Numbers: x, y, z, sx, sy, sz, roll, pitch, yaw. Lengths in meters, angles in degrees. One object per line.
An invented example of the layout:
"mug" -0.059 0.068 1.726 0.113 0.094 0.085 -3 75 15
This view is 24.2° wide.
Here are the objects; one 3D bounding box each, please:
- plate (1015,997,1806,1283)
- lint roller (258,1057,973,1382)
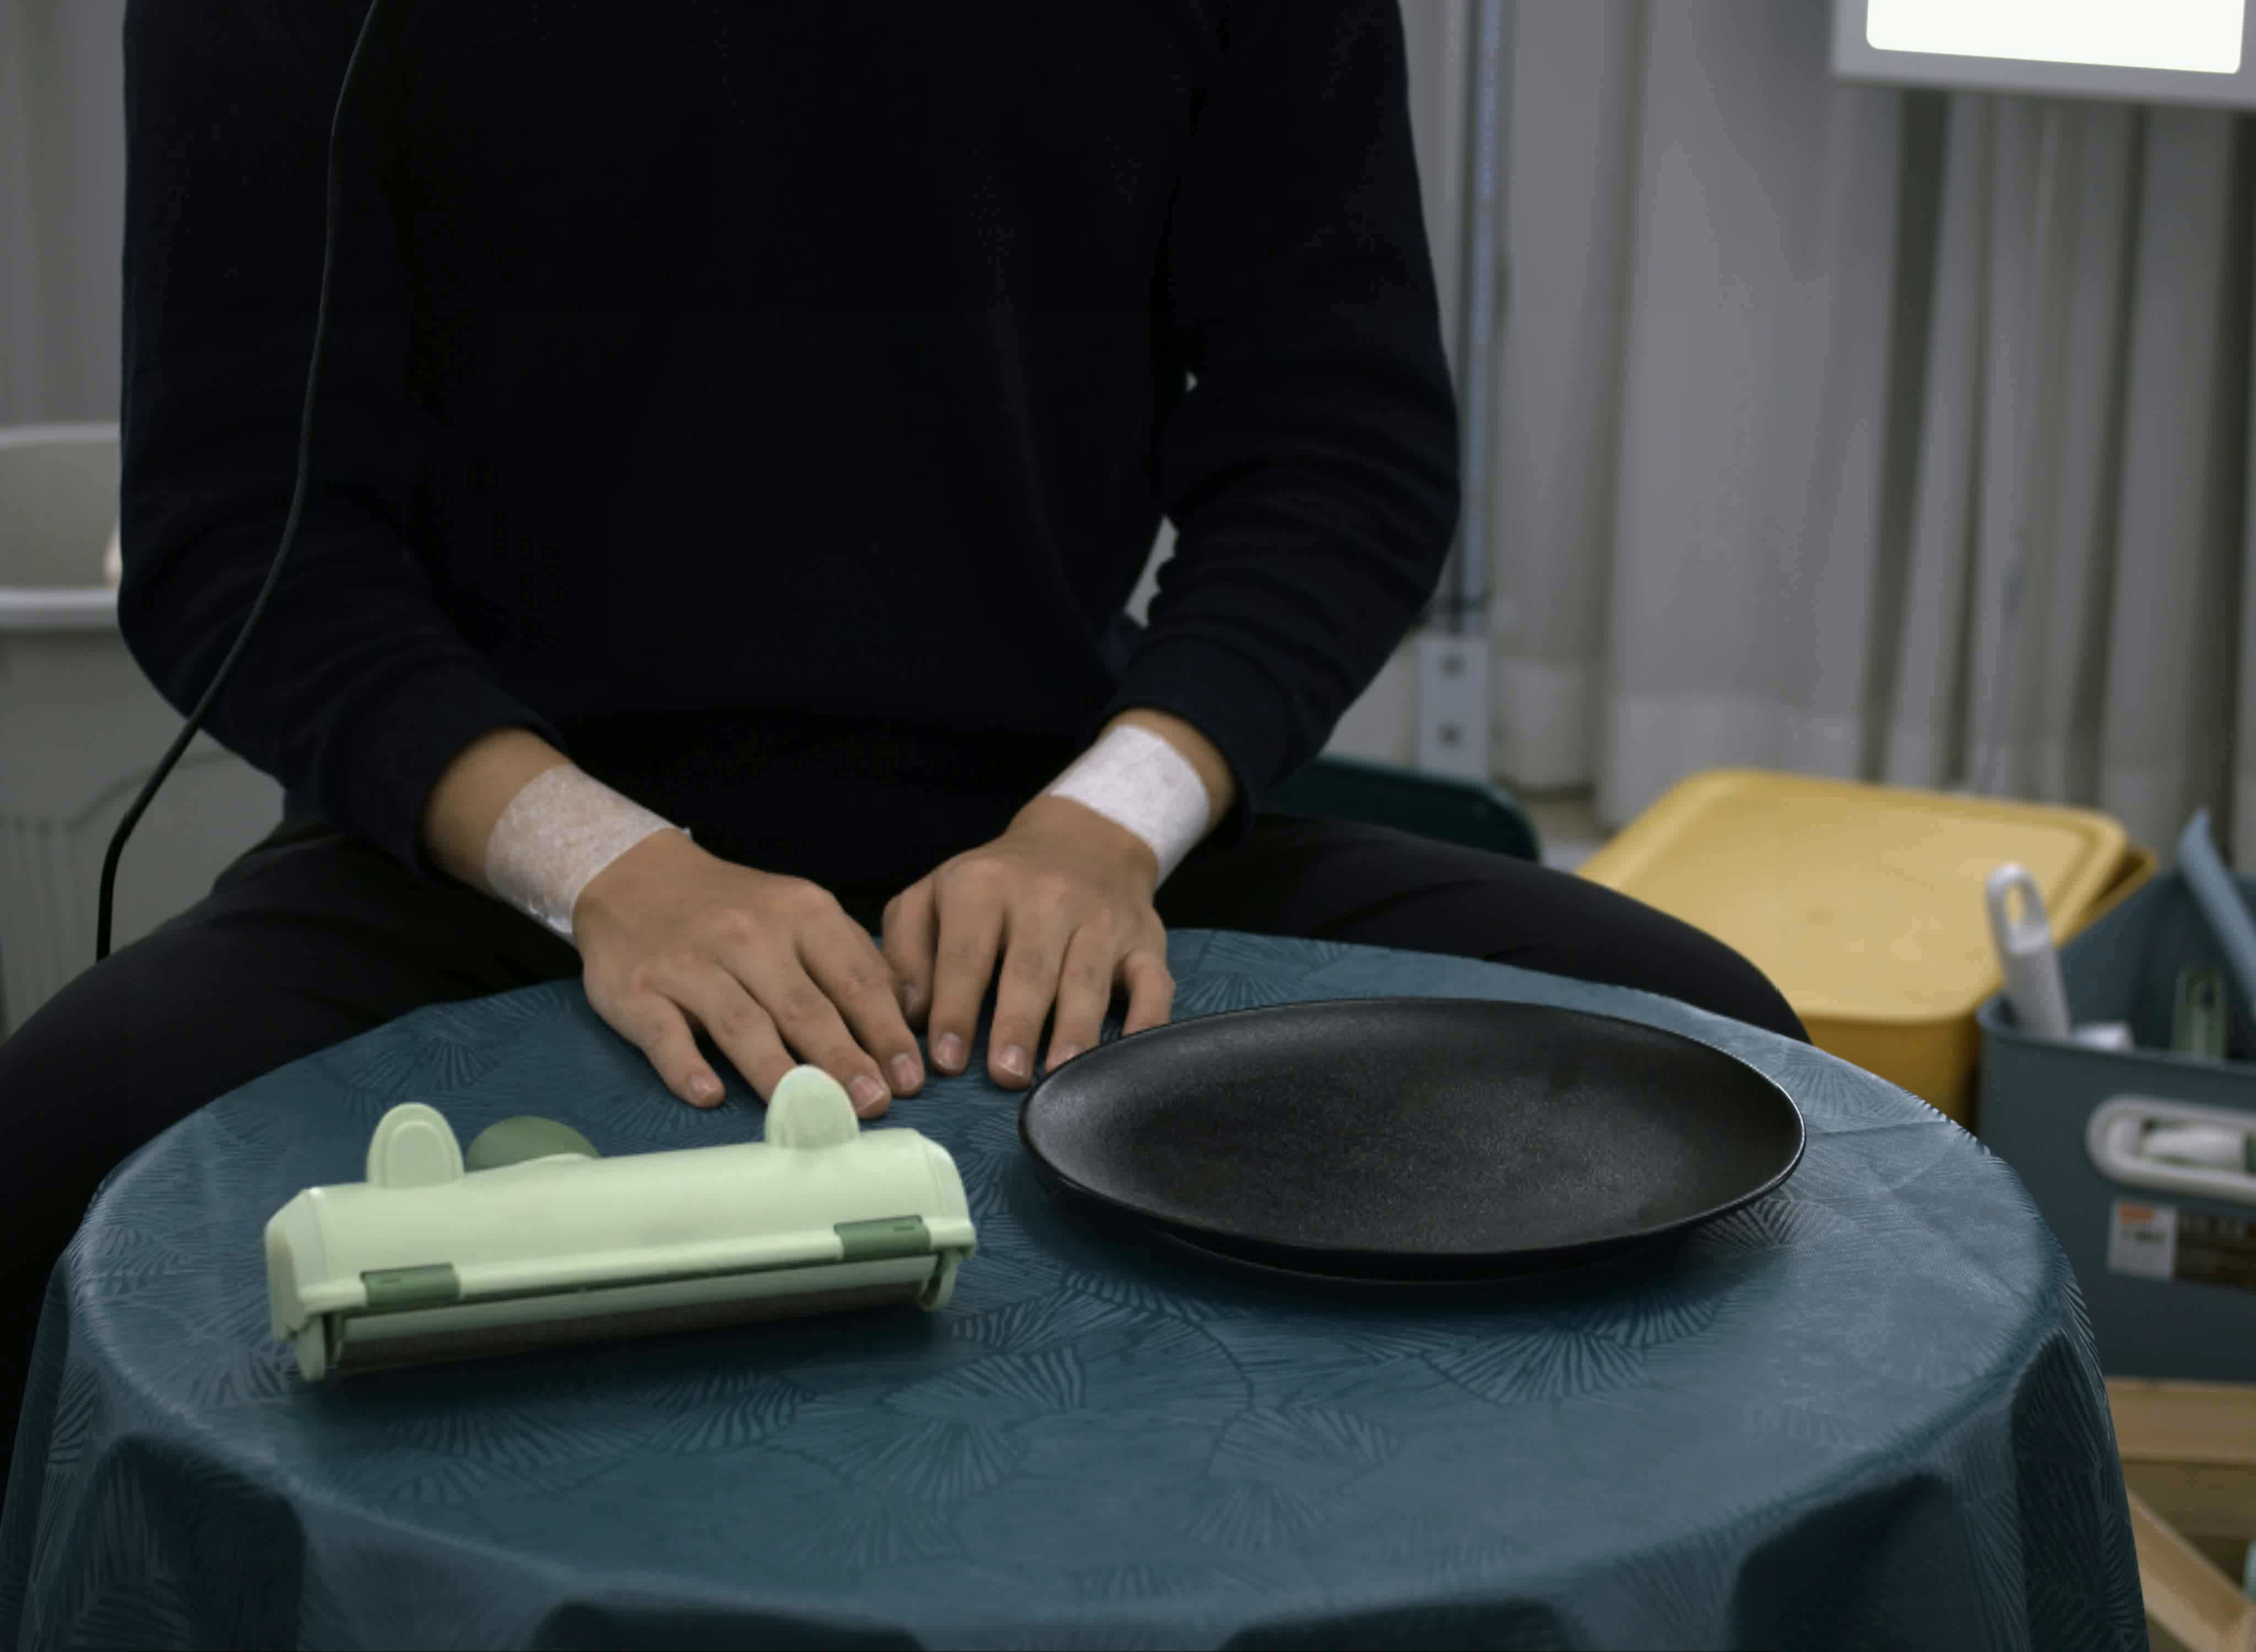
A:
"plate" 0.087 0.099 1.627 0.243 0.023 0.243 1 16 0
"lint roller" -0.163 0.093 1.528 0.199 0.083 0.181 -4 23 -20
